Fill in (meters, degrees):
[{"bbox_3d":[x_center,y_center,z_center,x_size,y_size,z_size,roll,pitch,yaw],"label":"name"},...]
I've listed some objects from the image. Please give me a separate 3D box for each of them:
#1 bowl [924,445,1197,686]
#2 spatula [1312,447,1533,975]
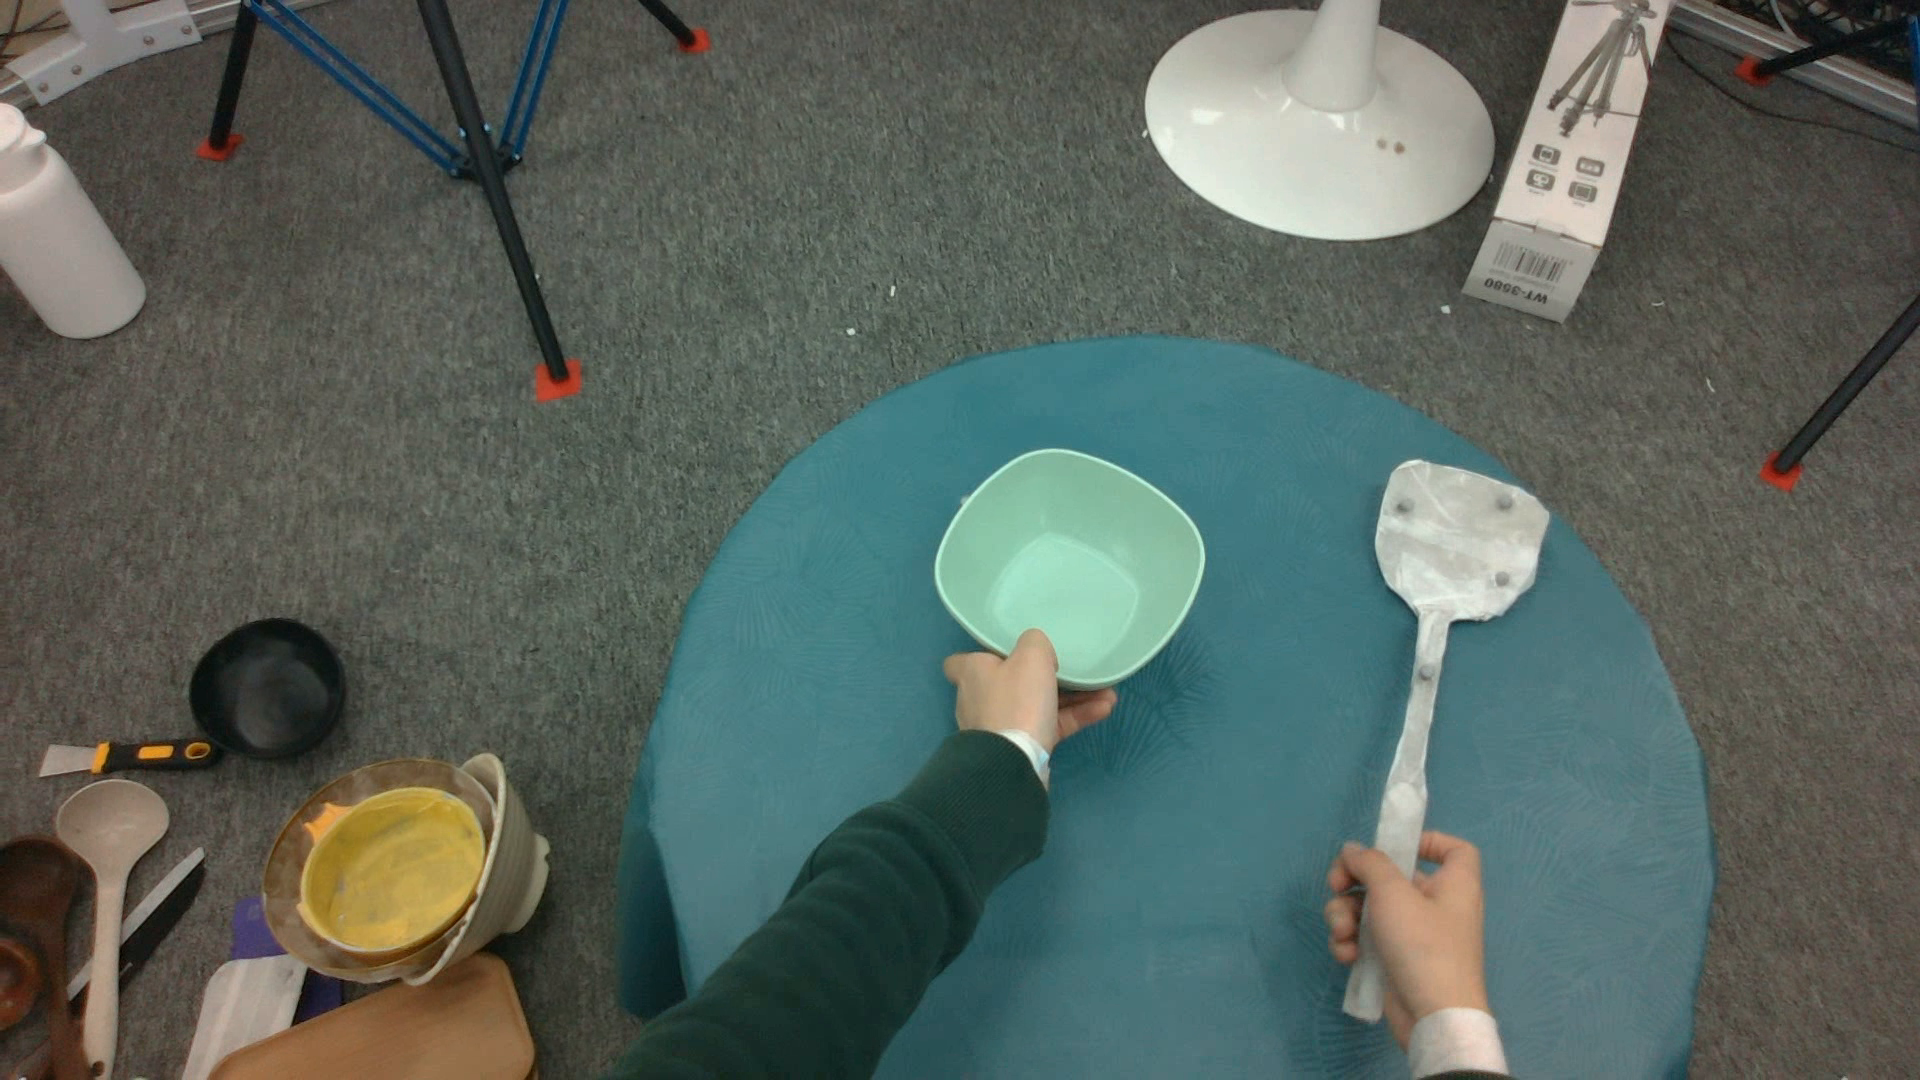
[{"bbox_3d":[0.055,0.023,0.776,0.151,0.058,0.152,1,57,-1],"label":"bowl"},{"bbox_3d":[0.250,0.081,0.770,0.098,0.044,0.367,20,47,10],"label":"spatula"}]
